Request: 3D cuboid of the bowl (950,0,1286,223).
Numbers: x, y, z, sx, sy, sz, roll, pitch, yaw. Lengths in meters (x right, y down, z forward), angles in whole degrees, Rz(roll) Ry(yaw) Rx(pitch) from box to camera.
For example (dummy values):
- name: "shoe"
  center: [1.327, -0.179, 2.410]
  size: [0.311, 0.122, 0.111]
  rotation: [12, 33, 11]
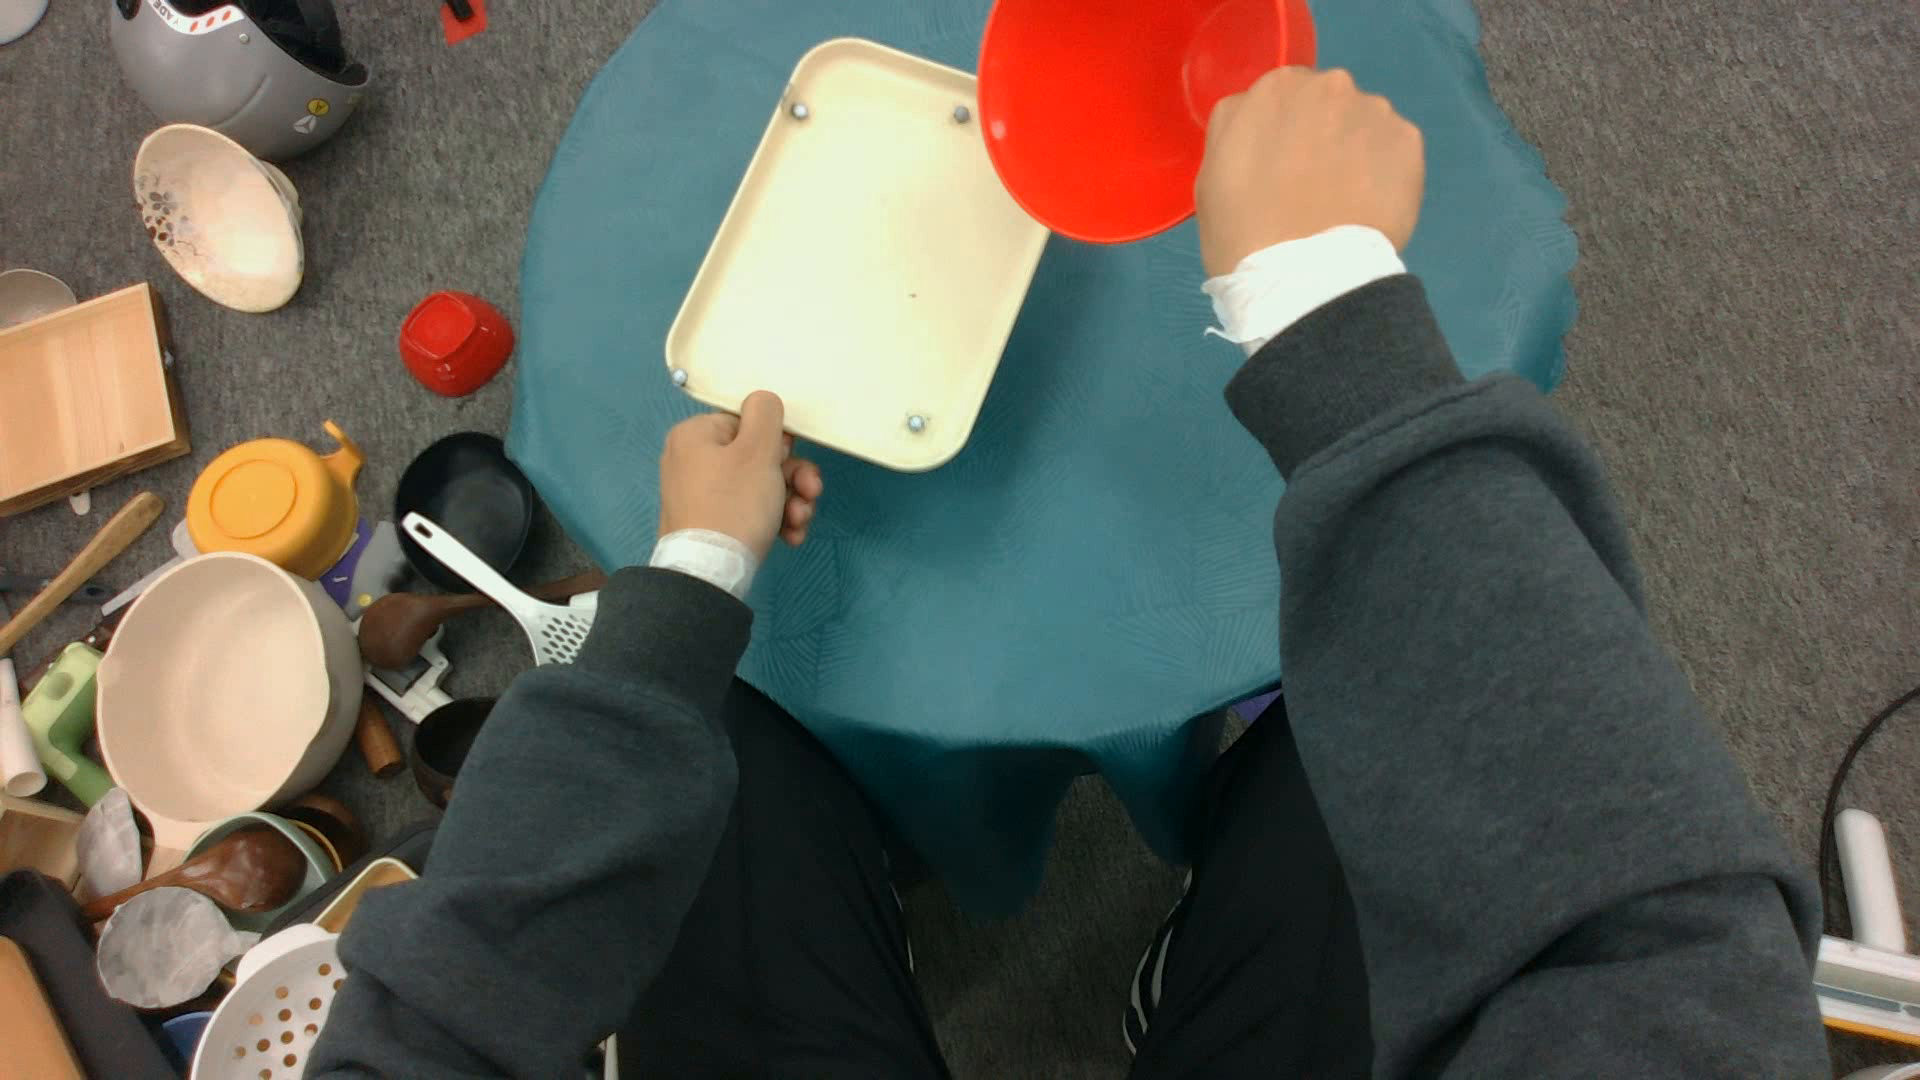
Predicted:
- name: "bowl"
  center: [0.084, -0.222, 0.633]
  size: [0.105, 0.147, 0.148]
  rotation: [-15, 64, -45]

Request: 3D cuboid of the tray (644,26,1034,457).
- name: "tray"
  center: [-0.055, -0.166, 0.752]
  size: [0.171, 0.017, 0.240]
  rotation: [20, 72, 5]
